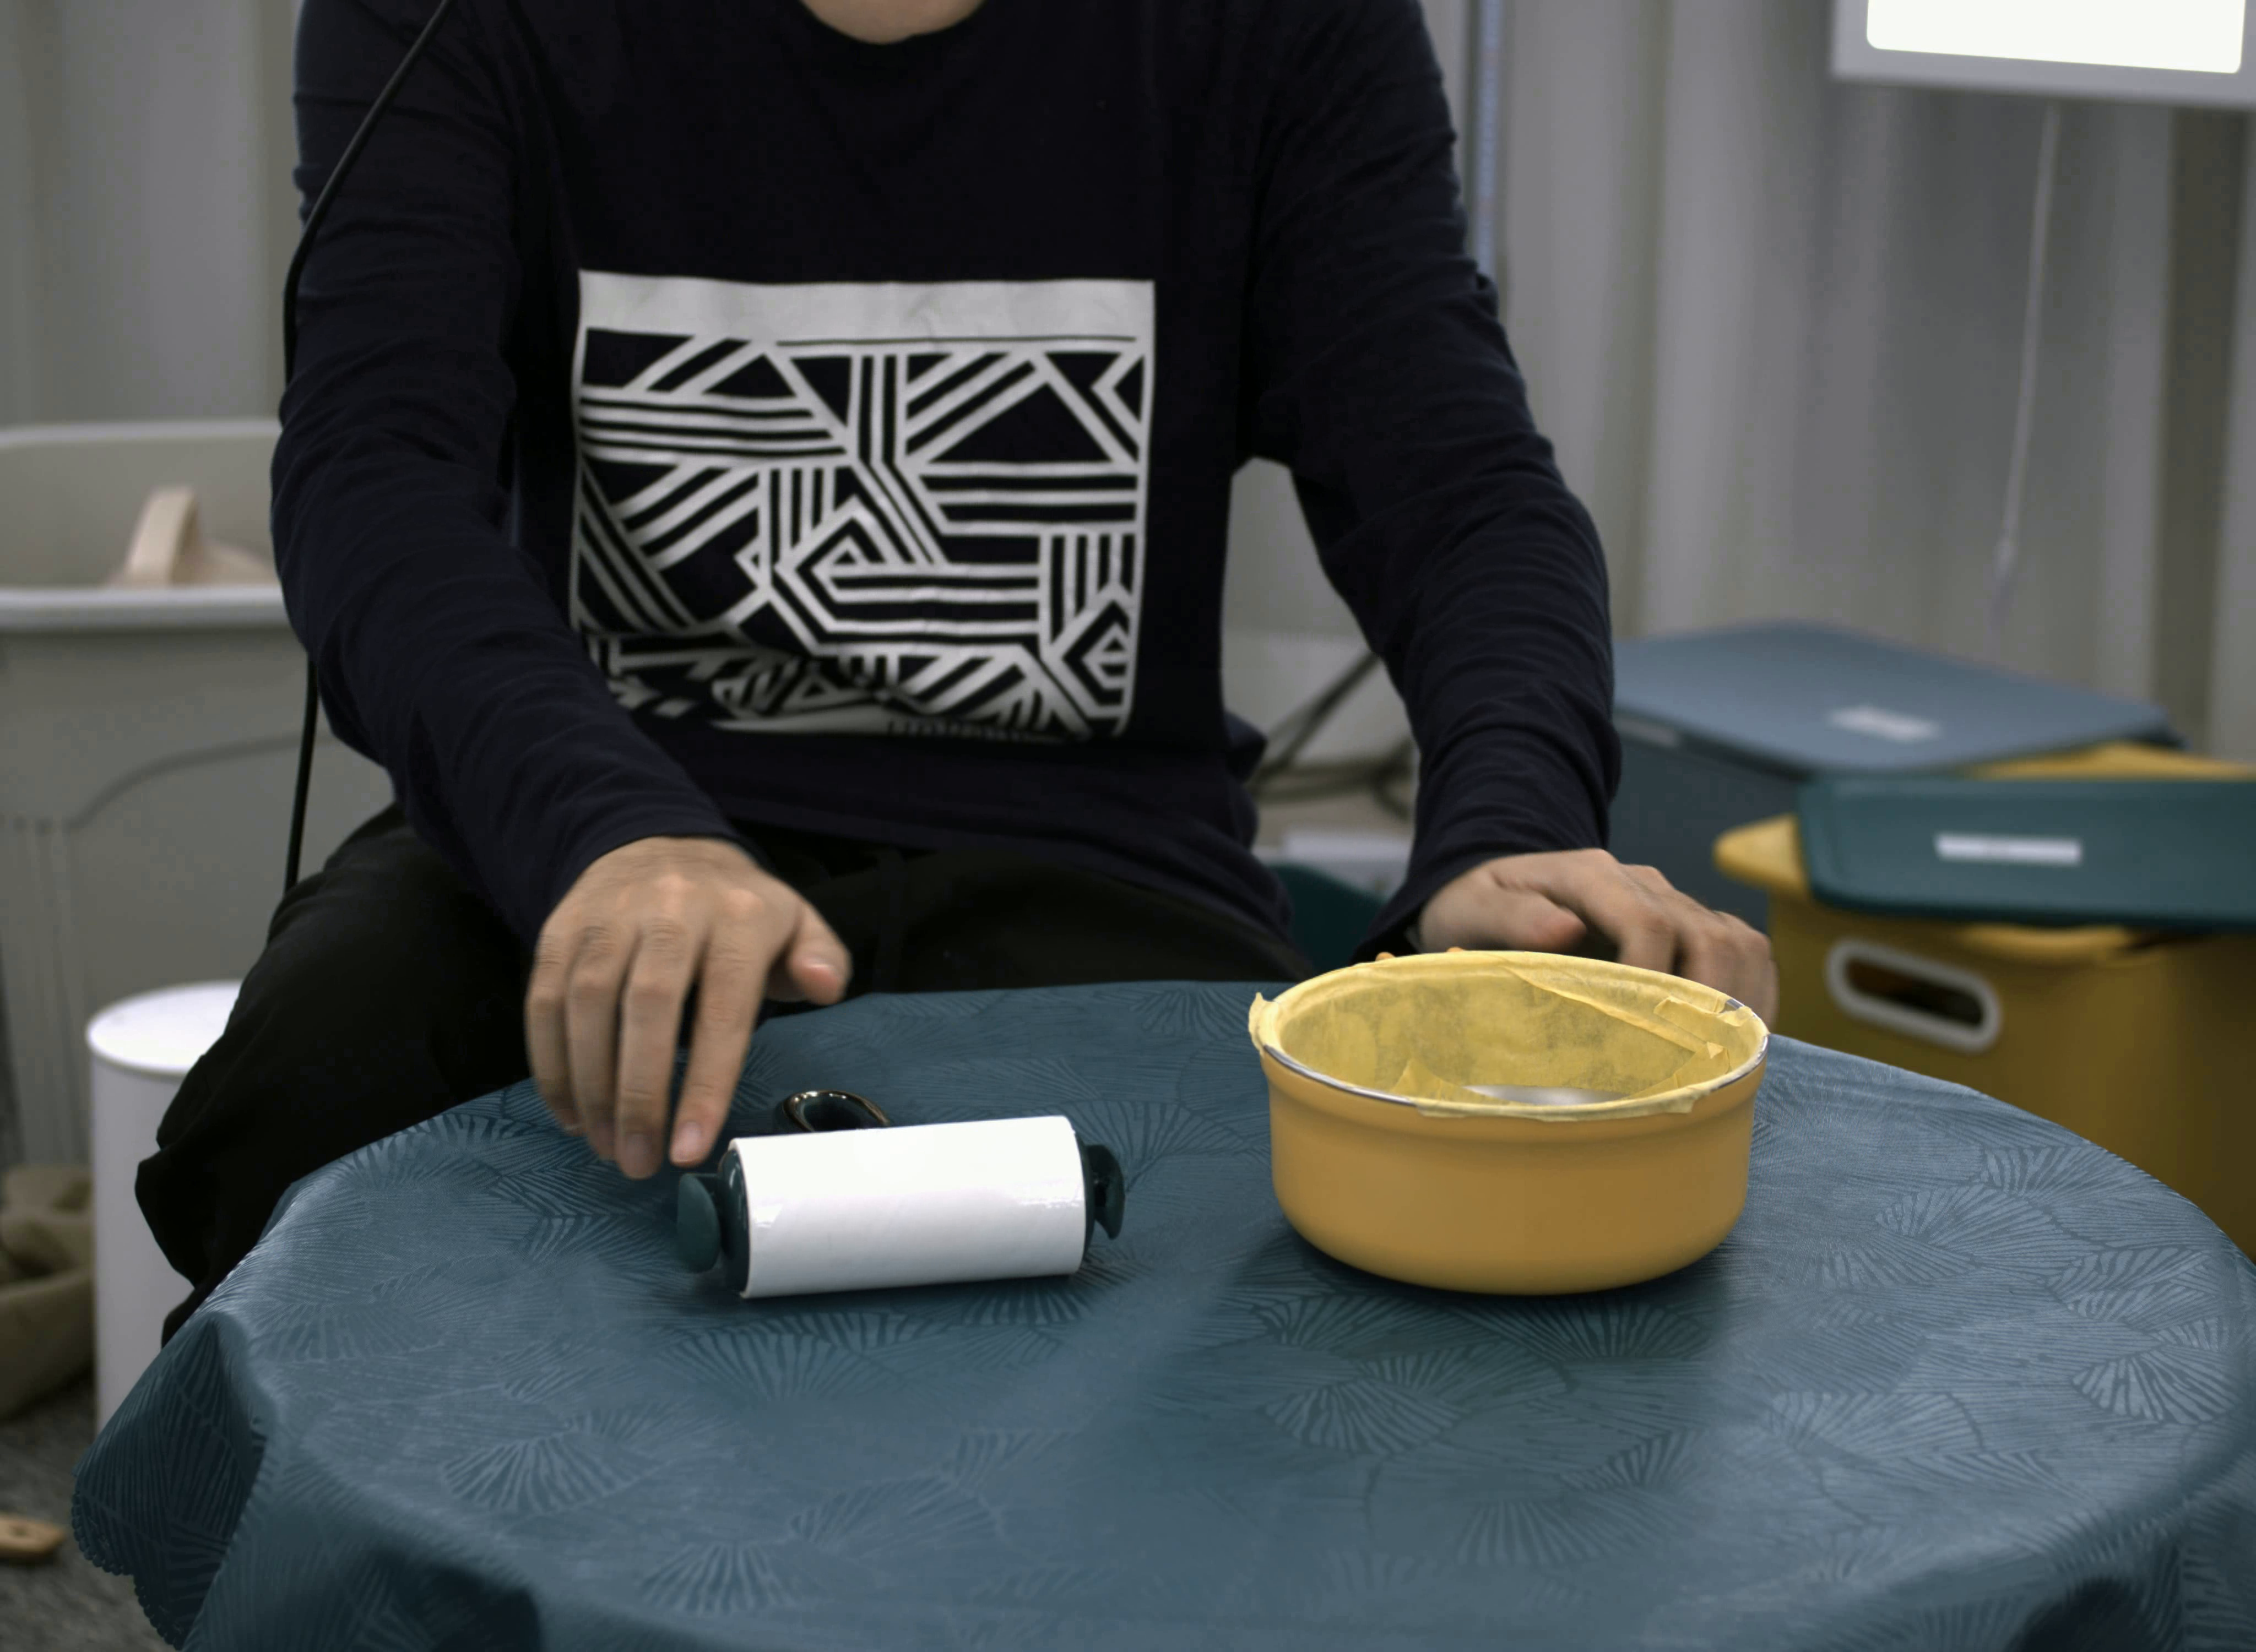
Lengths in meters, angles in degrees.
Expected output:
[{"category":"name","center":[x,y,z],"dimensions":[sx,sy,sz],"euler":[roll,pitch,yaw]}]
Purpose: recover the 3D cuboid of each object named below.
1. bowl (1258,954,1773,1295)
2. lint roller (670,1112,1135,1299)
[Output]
[{"category":"bowl","center":[0.112,0.088,1.591],"dimensions":[0.153,0.075,0.177],"euler":[-7,17,-18]},{"category":"lint roller","center":[-0.082,0.099,1.601],"dimensions":[0.134,0.048,0.178],"euler":[-4,12,-13]}]
